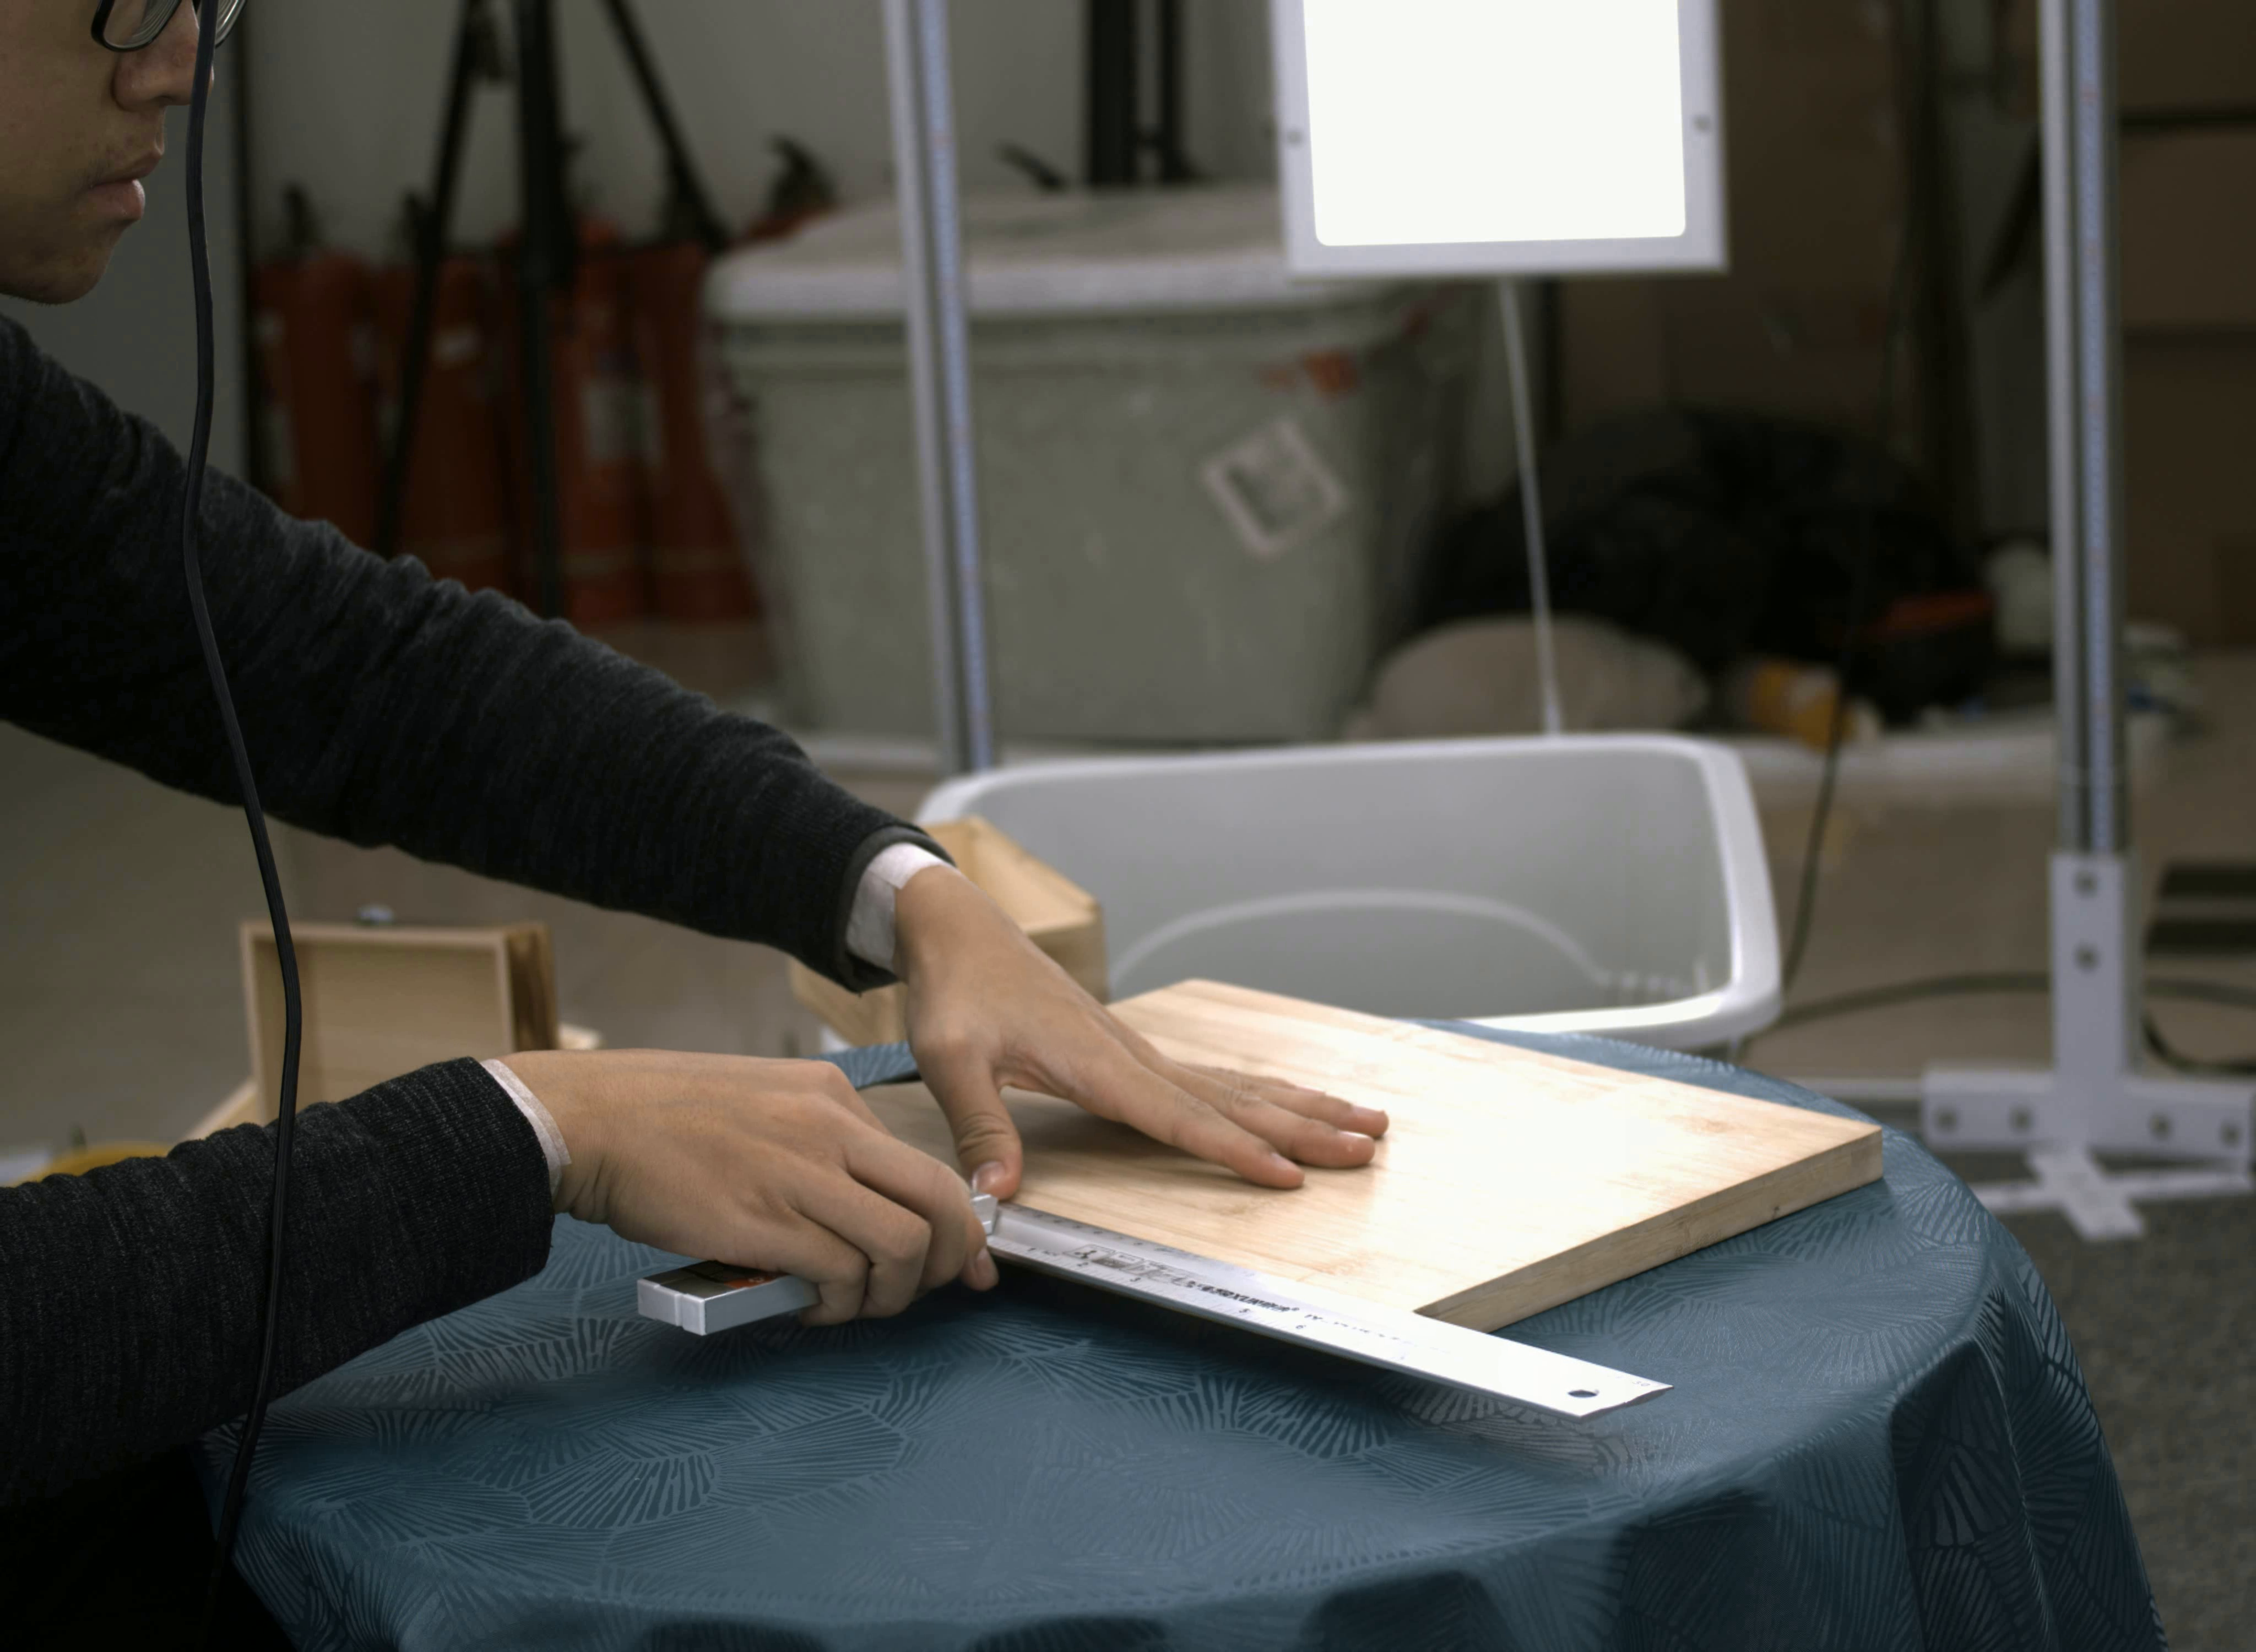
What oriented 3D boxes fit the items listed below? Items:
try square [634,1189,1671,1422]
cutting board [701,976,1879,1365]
[{"bbox_3d":[0.001,0.158,1.684,0.148,0.016,0.319,-14,16,-39],"label":"try square"},{"bbox_3d":[0.051,0.113,1.900,0.244,0.023,0.356,-16,18,-40],"label":"cutting board"}]
